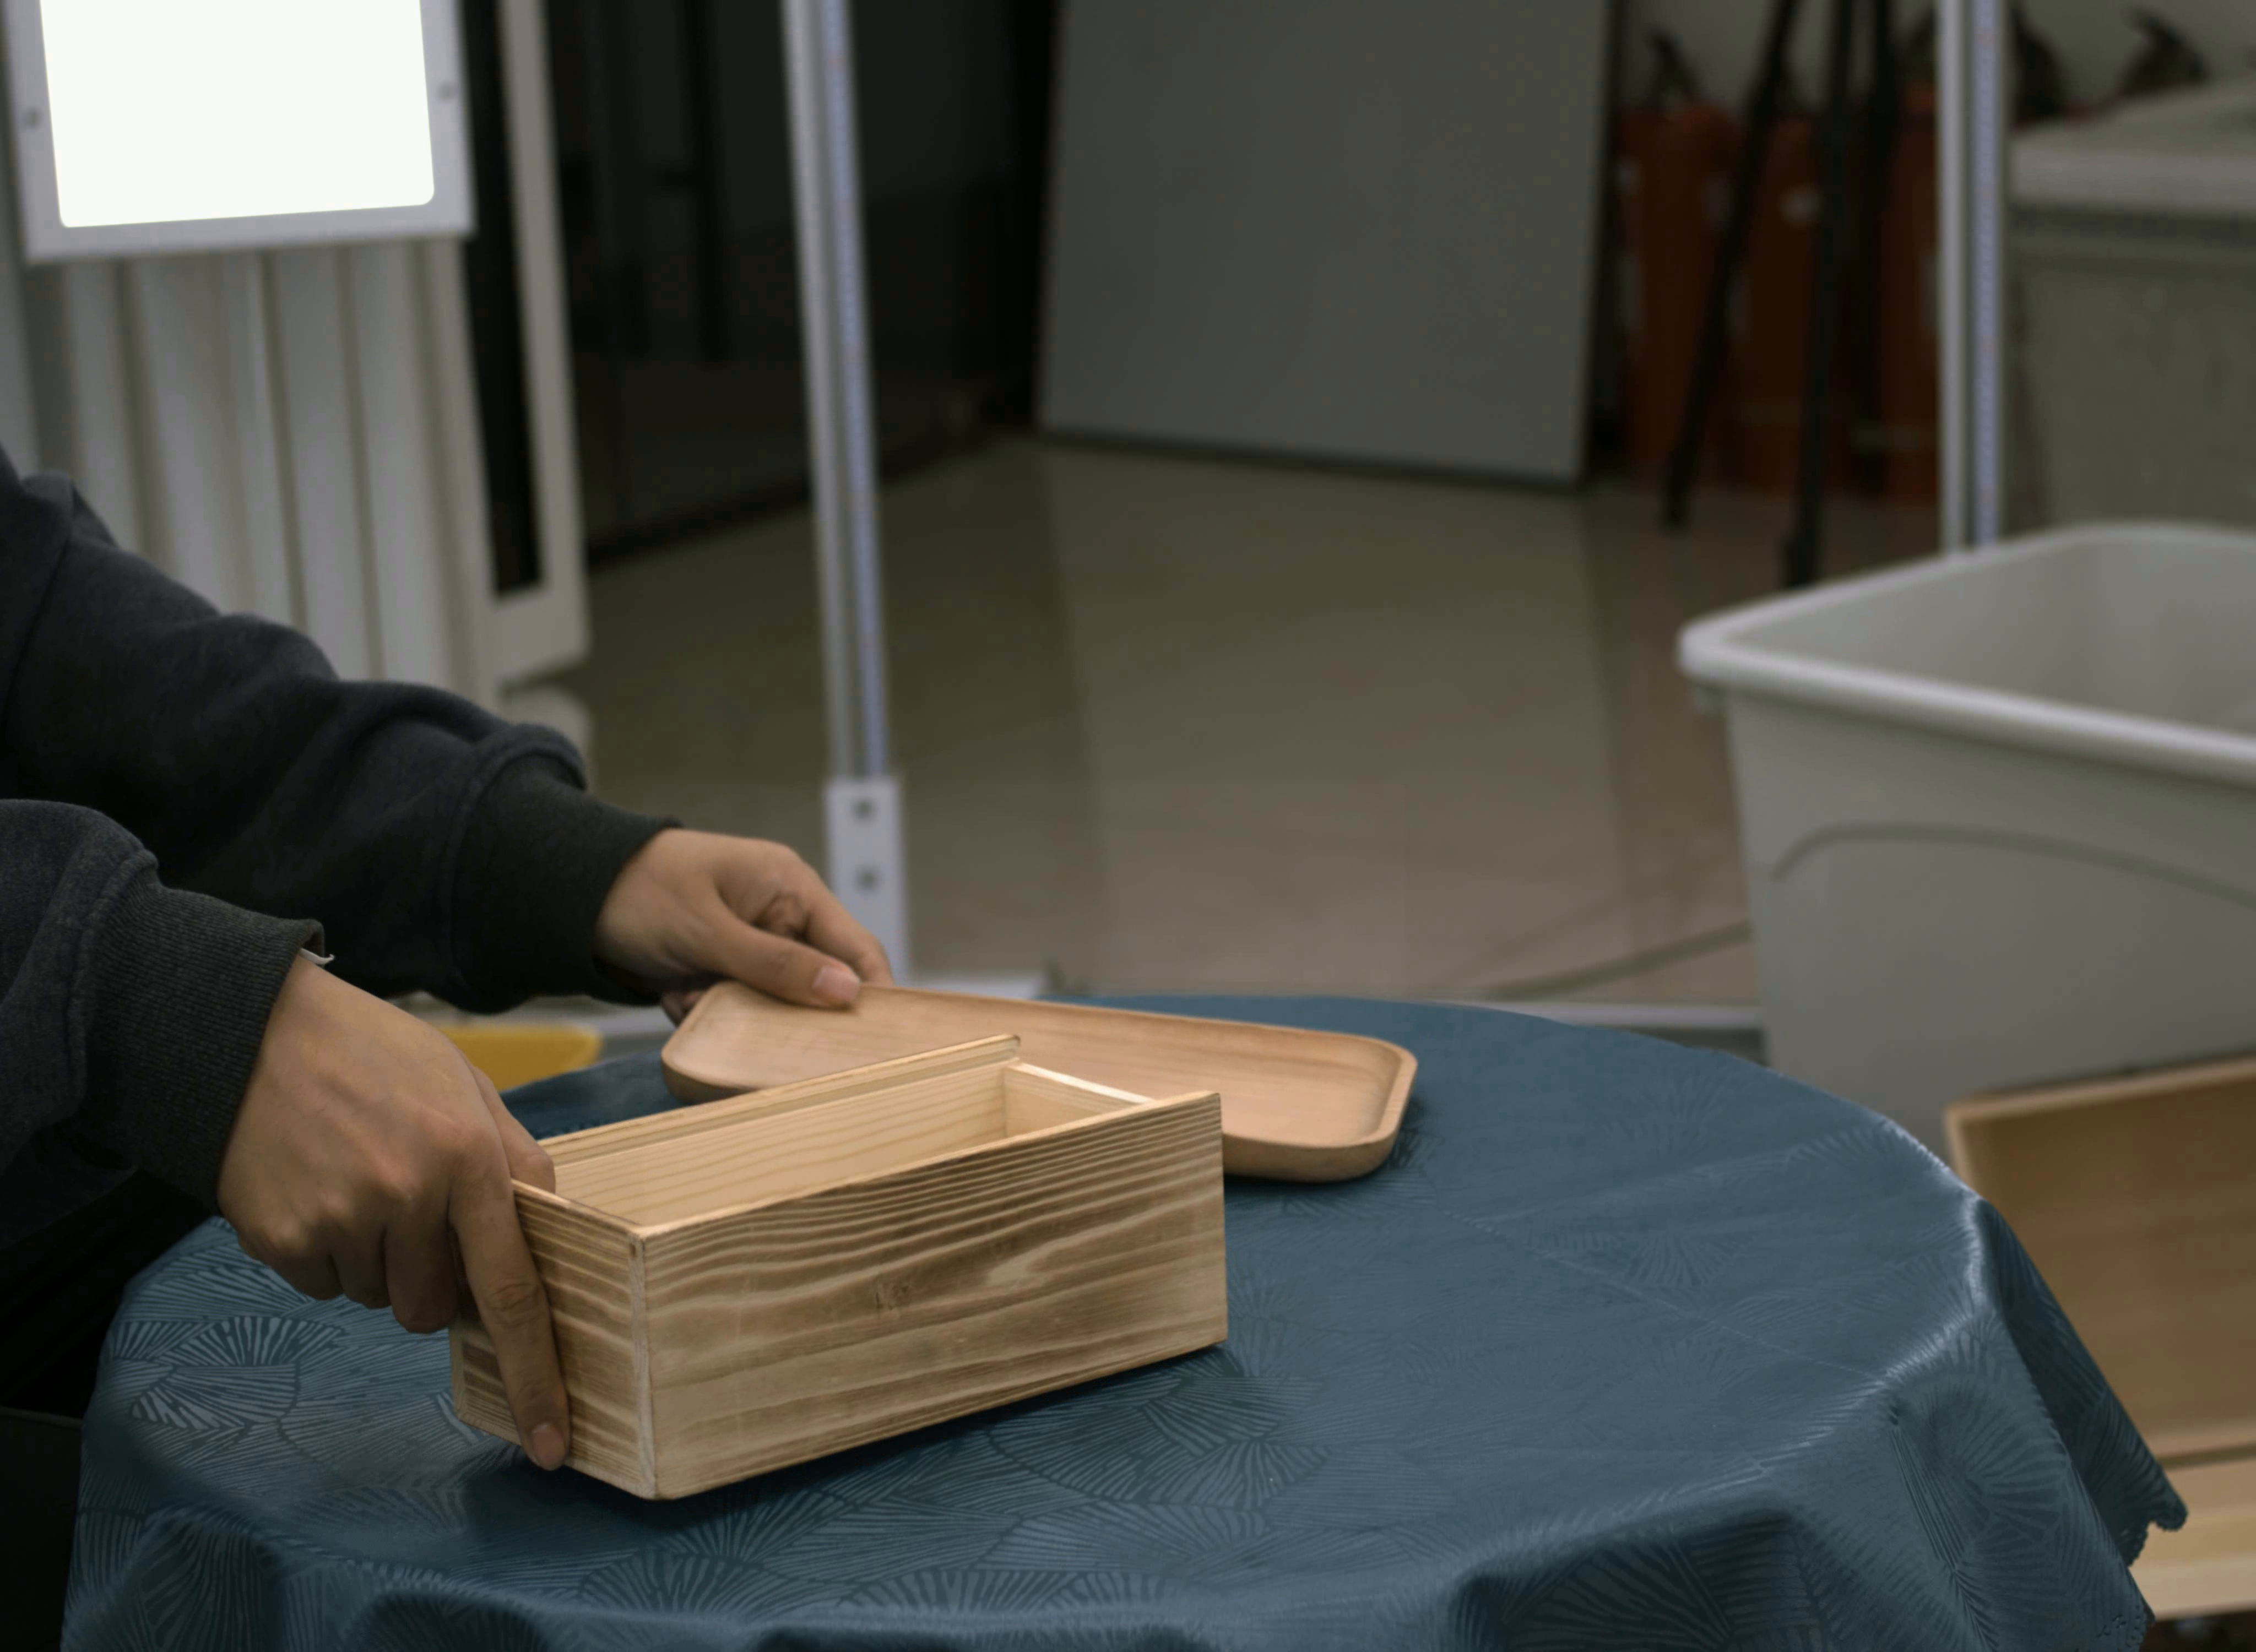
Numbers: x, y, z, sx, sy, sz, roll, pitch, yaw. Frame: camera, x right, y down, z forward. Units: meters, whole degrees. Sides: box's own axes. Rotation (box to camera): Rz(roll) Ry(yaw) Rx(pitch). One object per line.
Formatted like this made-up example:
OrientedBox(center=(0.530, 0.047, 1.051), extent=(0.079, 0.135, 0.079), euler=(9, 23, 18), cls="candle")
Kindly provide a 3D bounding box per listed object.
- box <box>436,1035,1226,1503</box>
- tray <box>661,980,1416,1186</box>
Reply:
OrientedBox(center=(-0.084, 0.126, 1.585), extent=(0.207, 0.081, 0.108), euler=(-12, 15, -37), cls="box")
OrientedBox(center=(-0.029, 0.086, 1.825), extent=(0.249, 0.023, 0.130), euler=(5, 12, 10), cls="tray")
